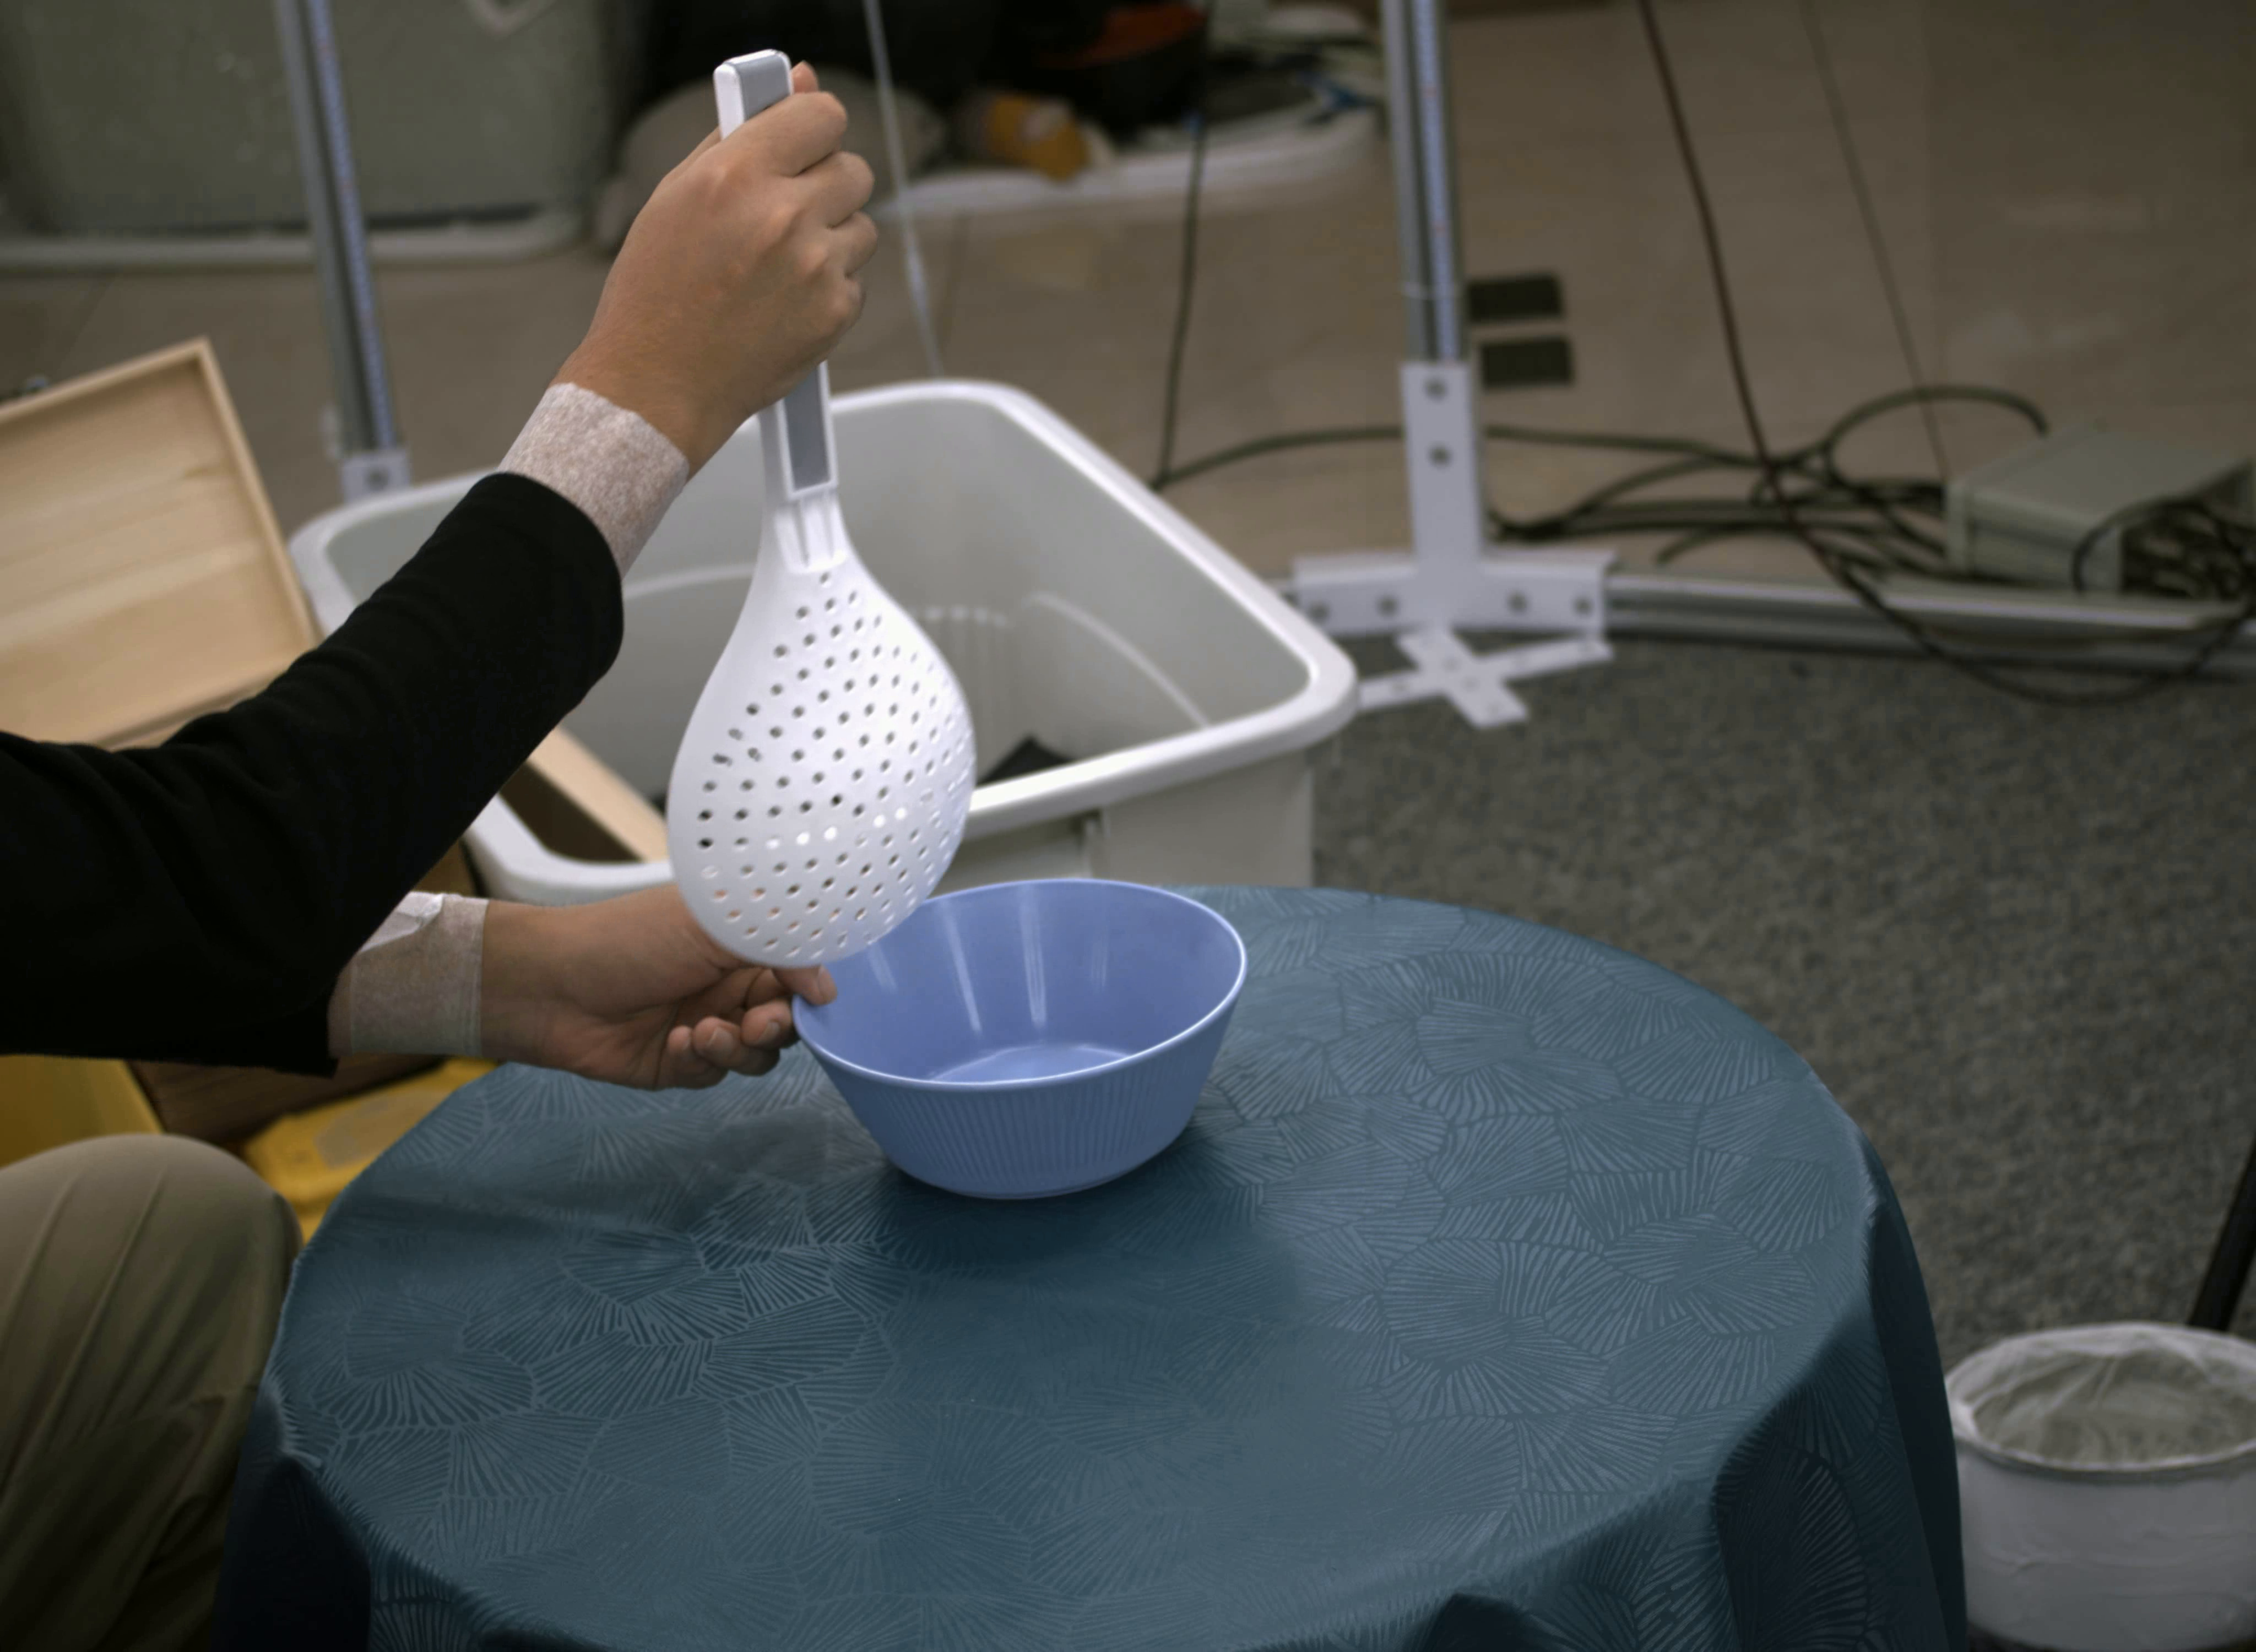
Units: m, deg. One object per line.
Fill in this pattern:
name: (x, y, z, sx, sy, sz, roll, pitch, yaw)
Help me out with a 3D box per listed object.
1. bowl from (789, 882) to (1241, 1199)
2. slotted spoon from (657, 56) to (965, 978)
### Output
bowl: (-0.040, 0.088, 2.183, 0.176, 0.071, 0.173, -6, 25, 3)
slotted spoon: (-0.120, -0.108, 2.064, 0.135, 0.354, 0.045, -18, 22, -31)
